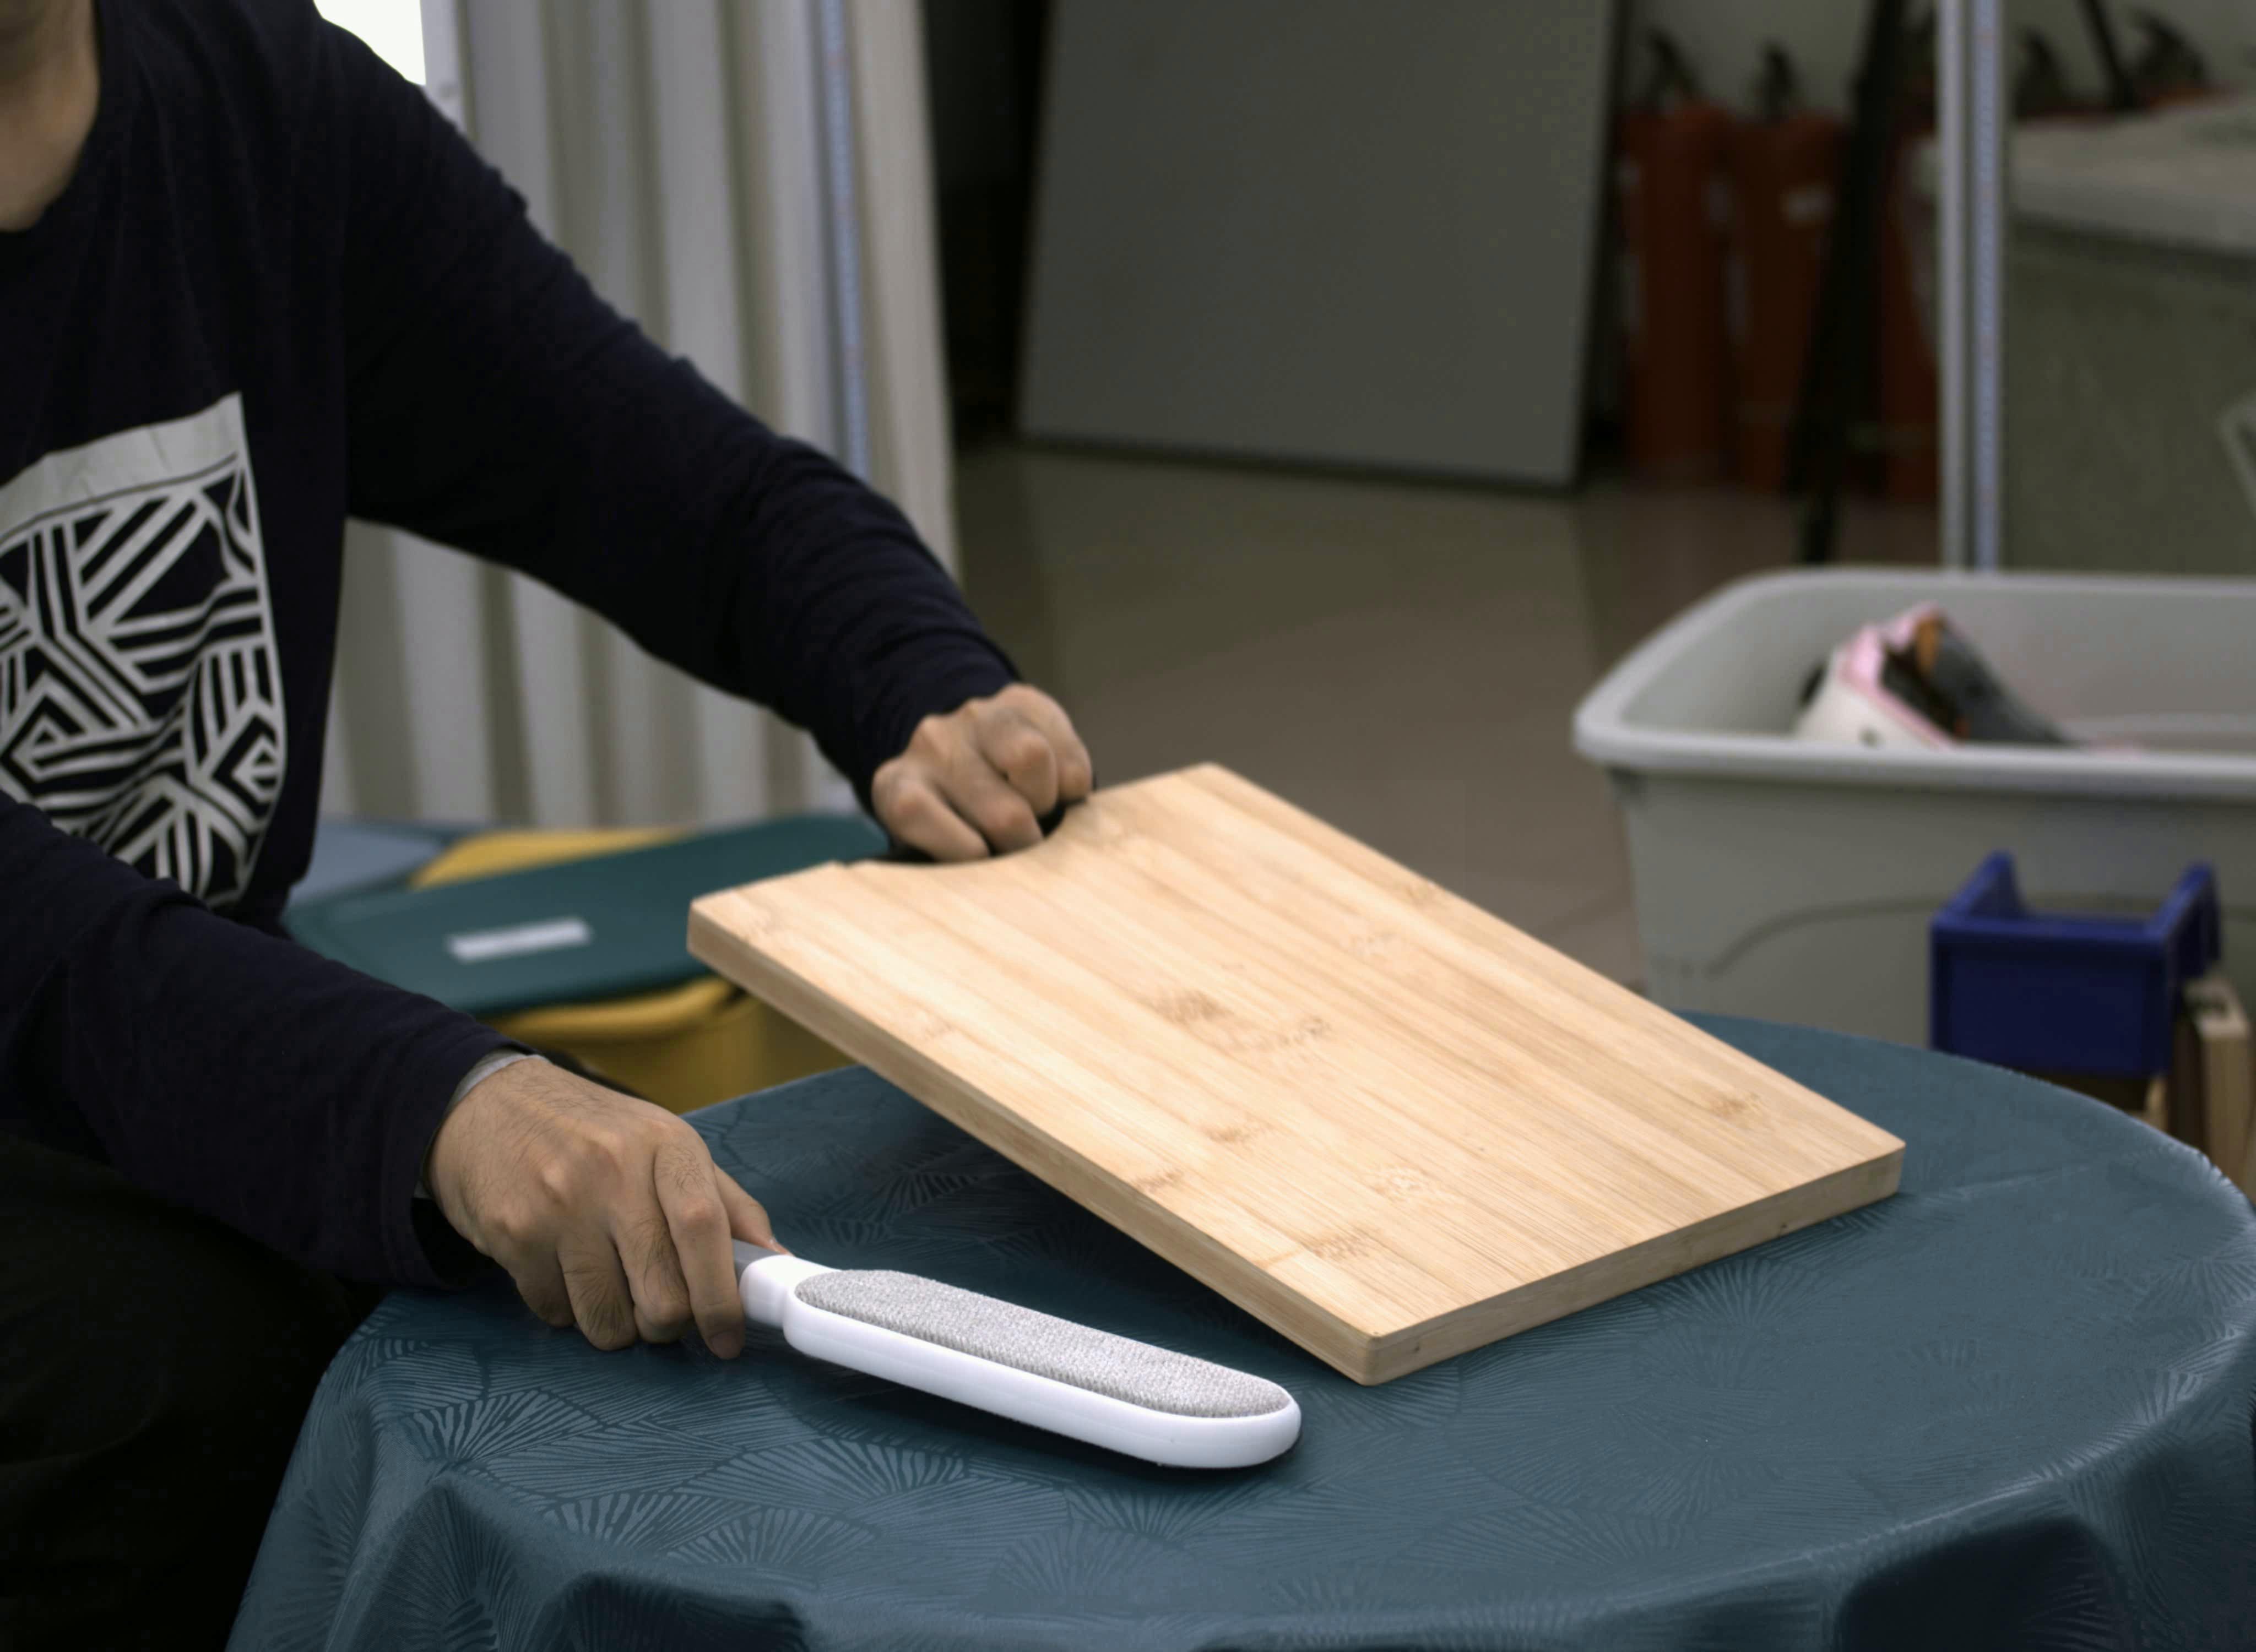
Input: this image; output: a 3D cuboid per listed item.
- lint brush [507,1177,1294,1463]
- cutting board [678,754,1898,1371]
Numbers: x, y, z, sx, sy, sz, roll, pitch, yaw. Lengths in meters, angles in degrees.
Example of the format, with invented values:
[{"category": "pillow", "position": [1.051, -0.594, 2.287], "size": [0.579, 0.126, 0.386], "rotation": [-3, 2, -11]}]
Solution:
[{"category": "lint brush", "position": [-0.075, 0.144, 1.607], "size": [0.311, 0.021, 0.059], "rotation": [12, 19, 40]}, {"category": "cutting board", "position": [0.047, 0.069, 1.765], "size": [0.245, 0.024, 0.352], "rotation": [-14, 31, -38]}]
